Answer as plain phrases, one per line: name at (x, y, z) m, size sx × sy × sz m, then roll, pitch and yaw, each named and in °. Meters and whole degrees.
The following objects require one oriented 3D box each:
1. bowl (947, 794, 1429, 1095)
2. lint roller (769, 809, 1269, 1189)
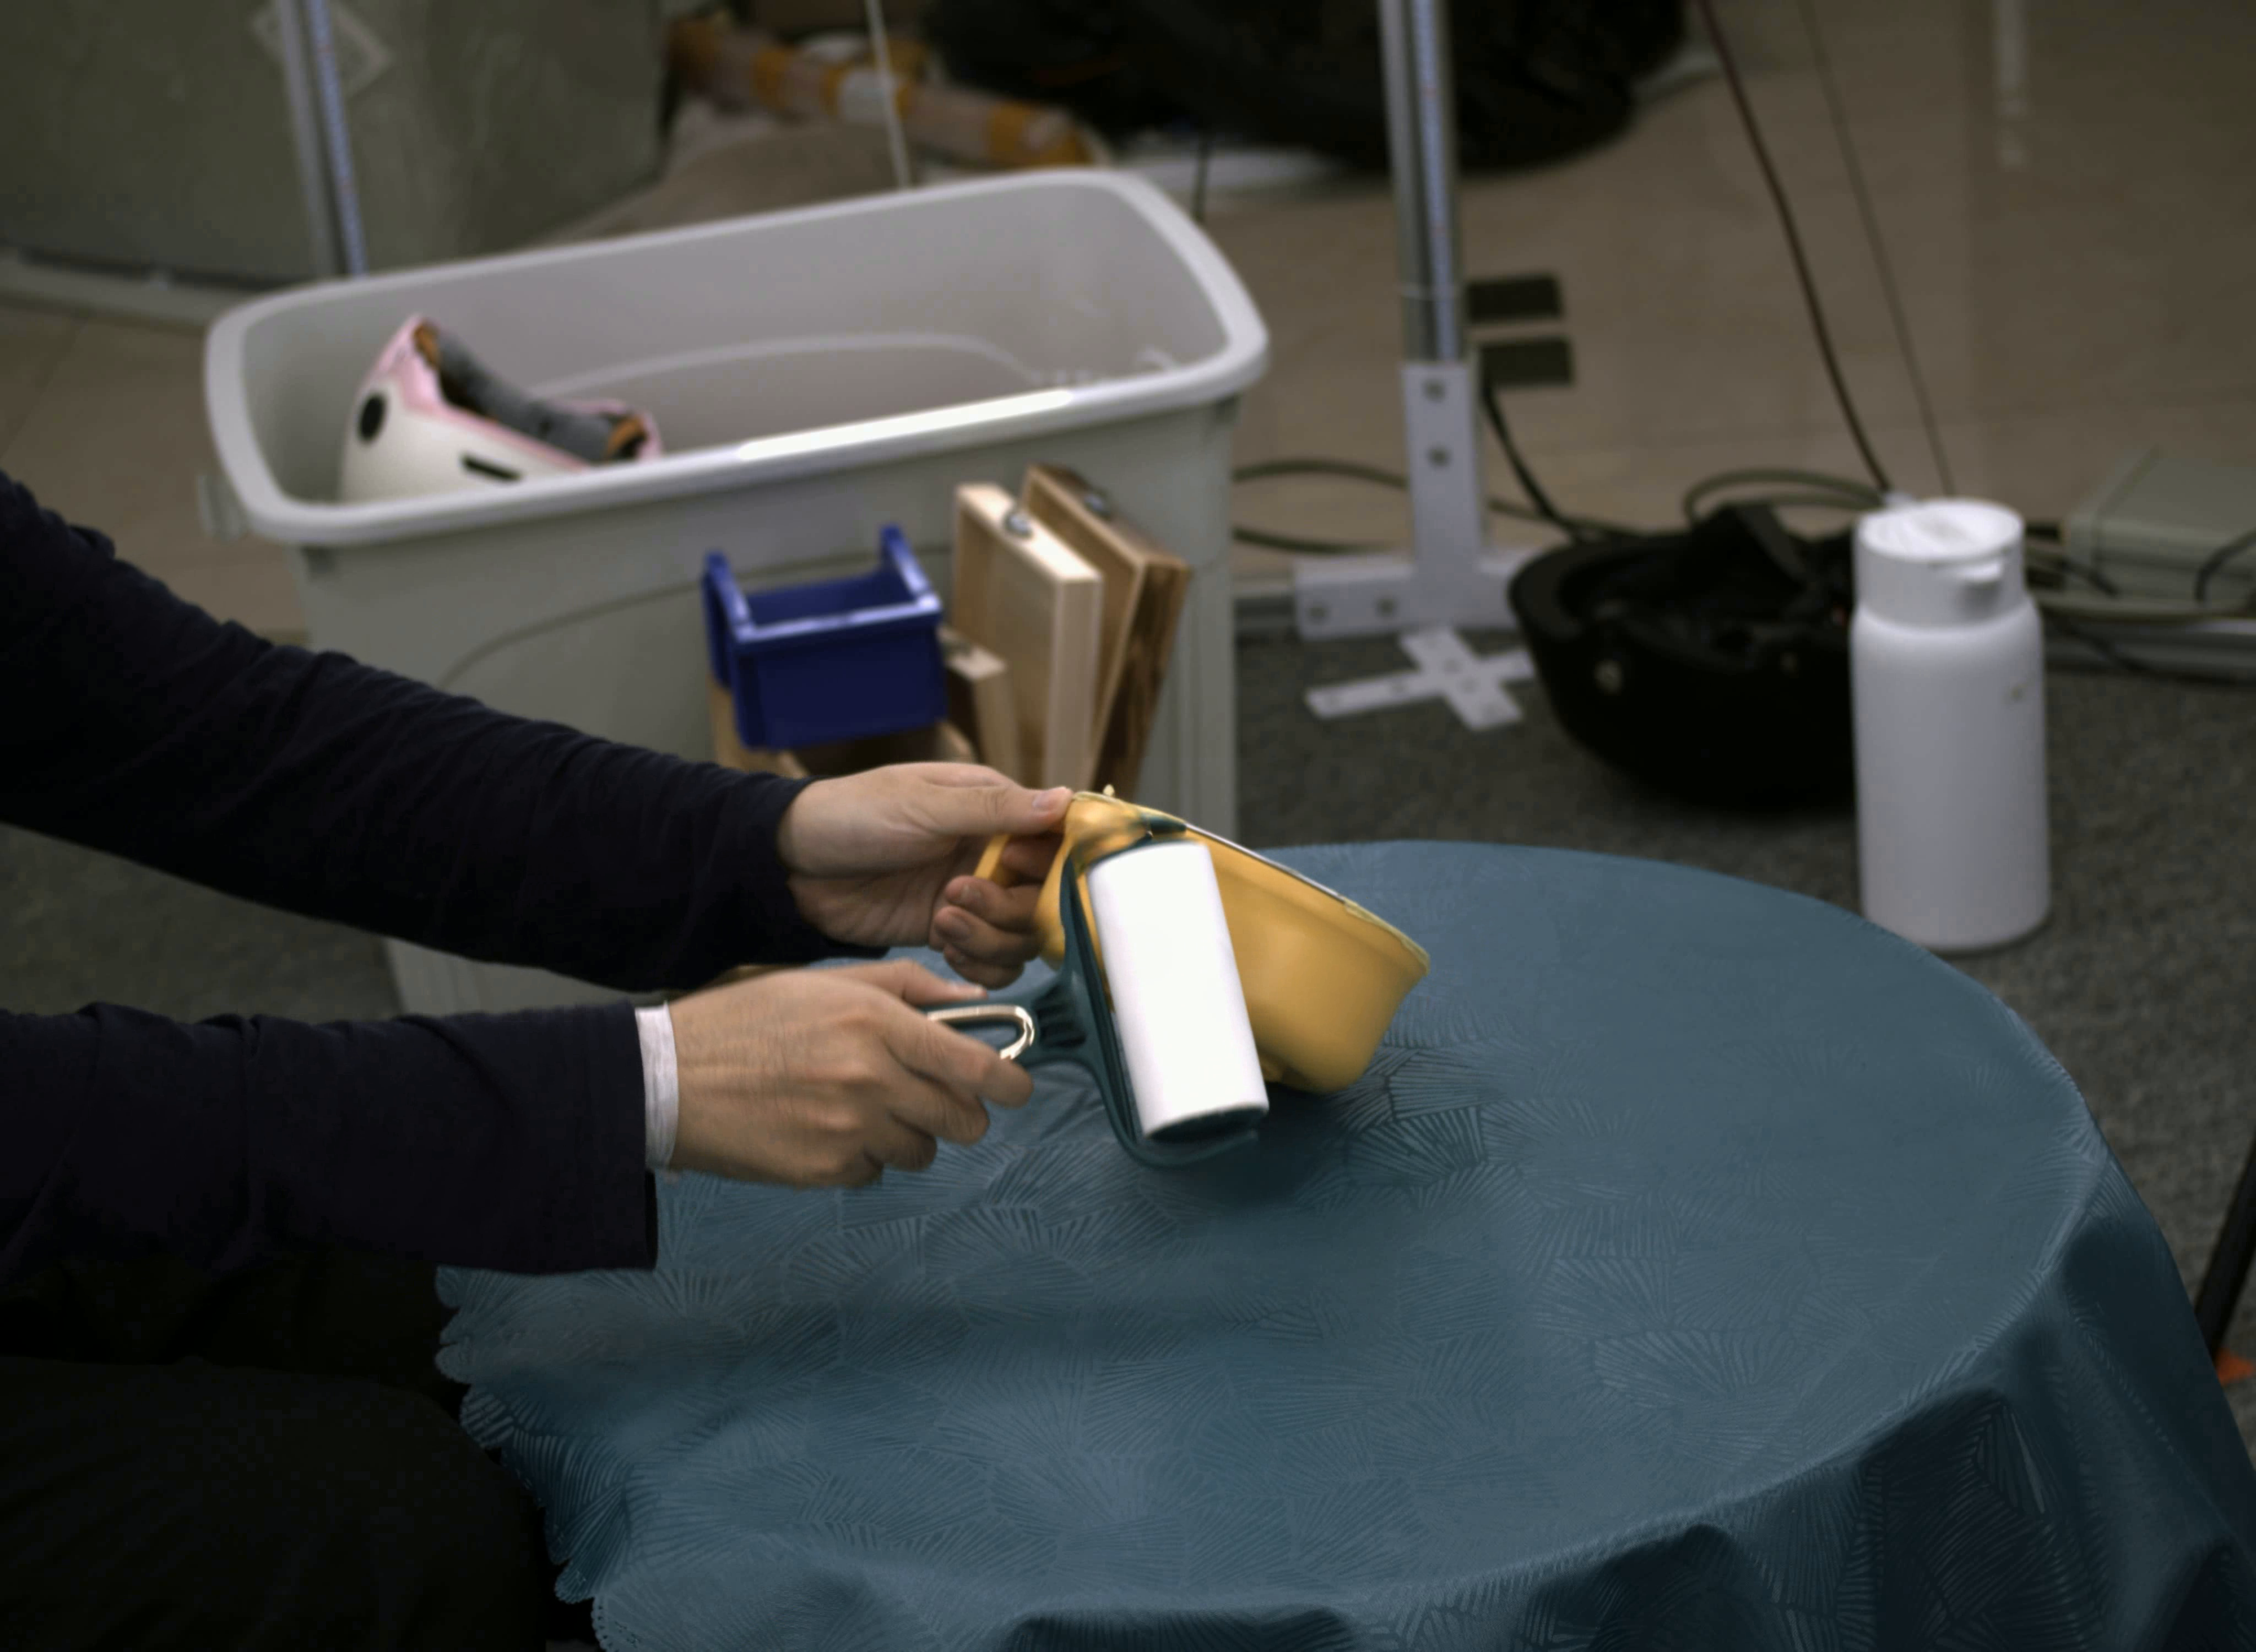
bowl at (0.022, 0.046, 2.187) m, size 0.178 × 0.074 × 0.154 m, roll 23°, pitch -6°, yaw 18°
lint roller at (-0.047, 0.081, 2.059) m, size 0.180 × 0.133 × 0.048 m, roll -14°, pitch -10°, yaw 4°
